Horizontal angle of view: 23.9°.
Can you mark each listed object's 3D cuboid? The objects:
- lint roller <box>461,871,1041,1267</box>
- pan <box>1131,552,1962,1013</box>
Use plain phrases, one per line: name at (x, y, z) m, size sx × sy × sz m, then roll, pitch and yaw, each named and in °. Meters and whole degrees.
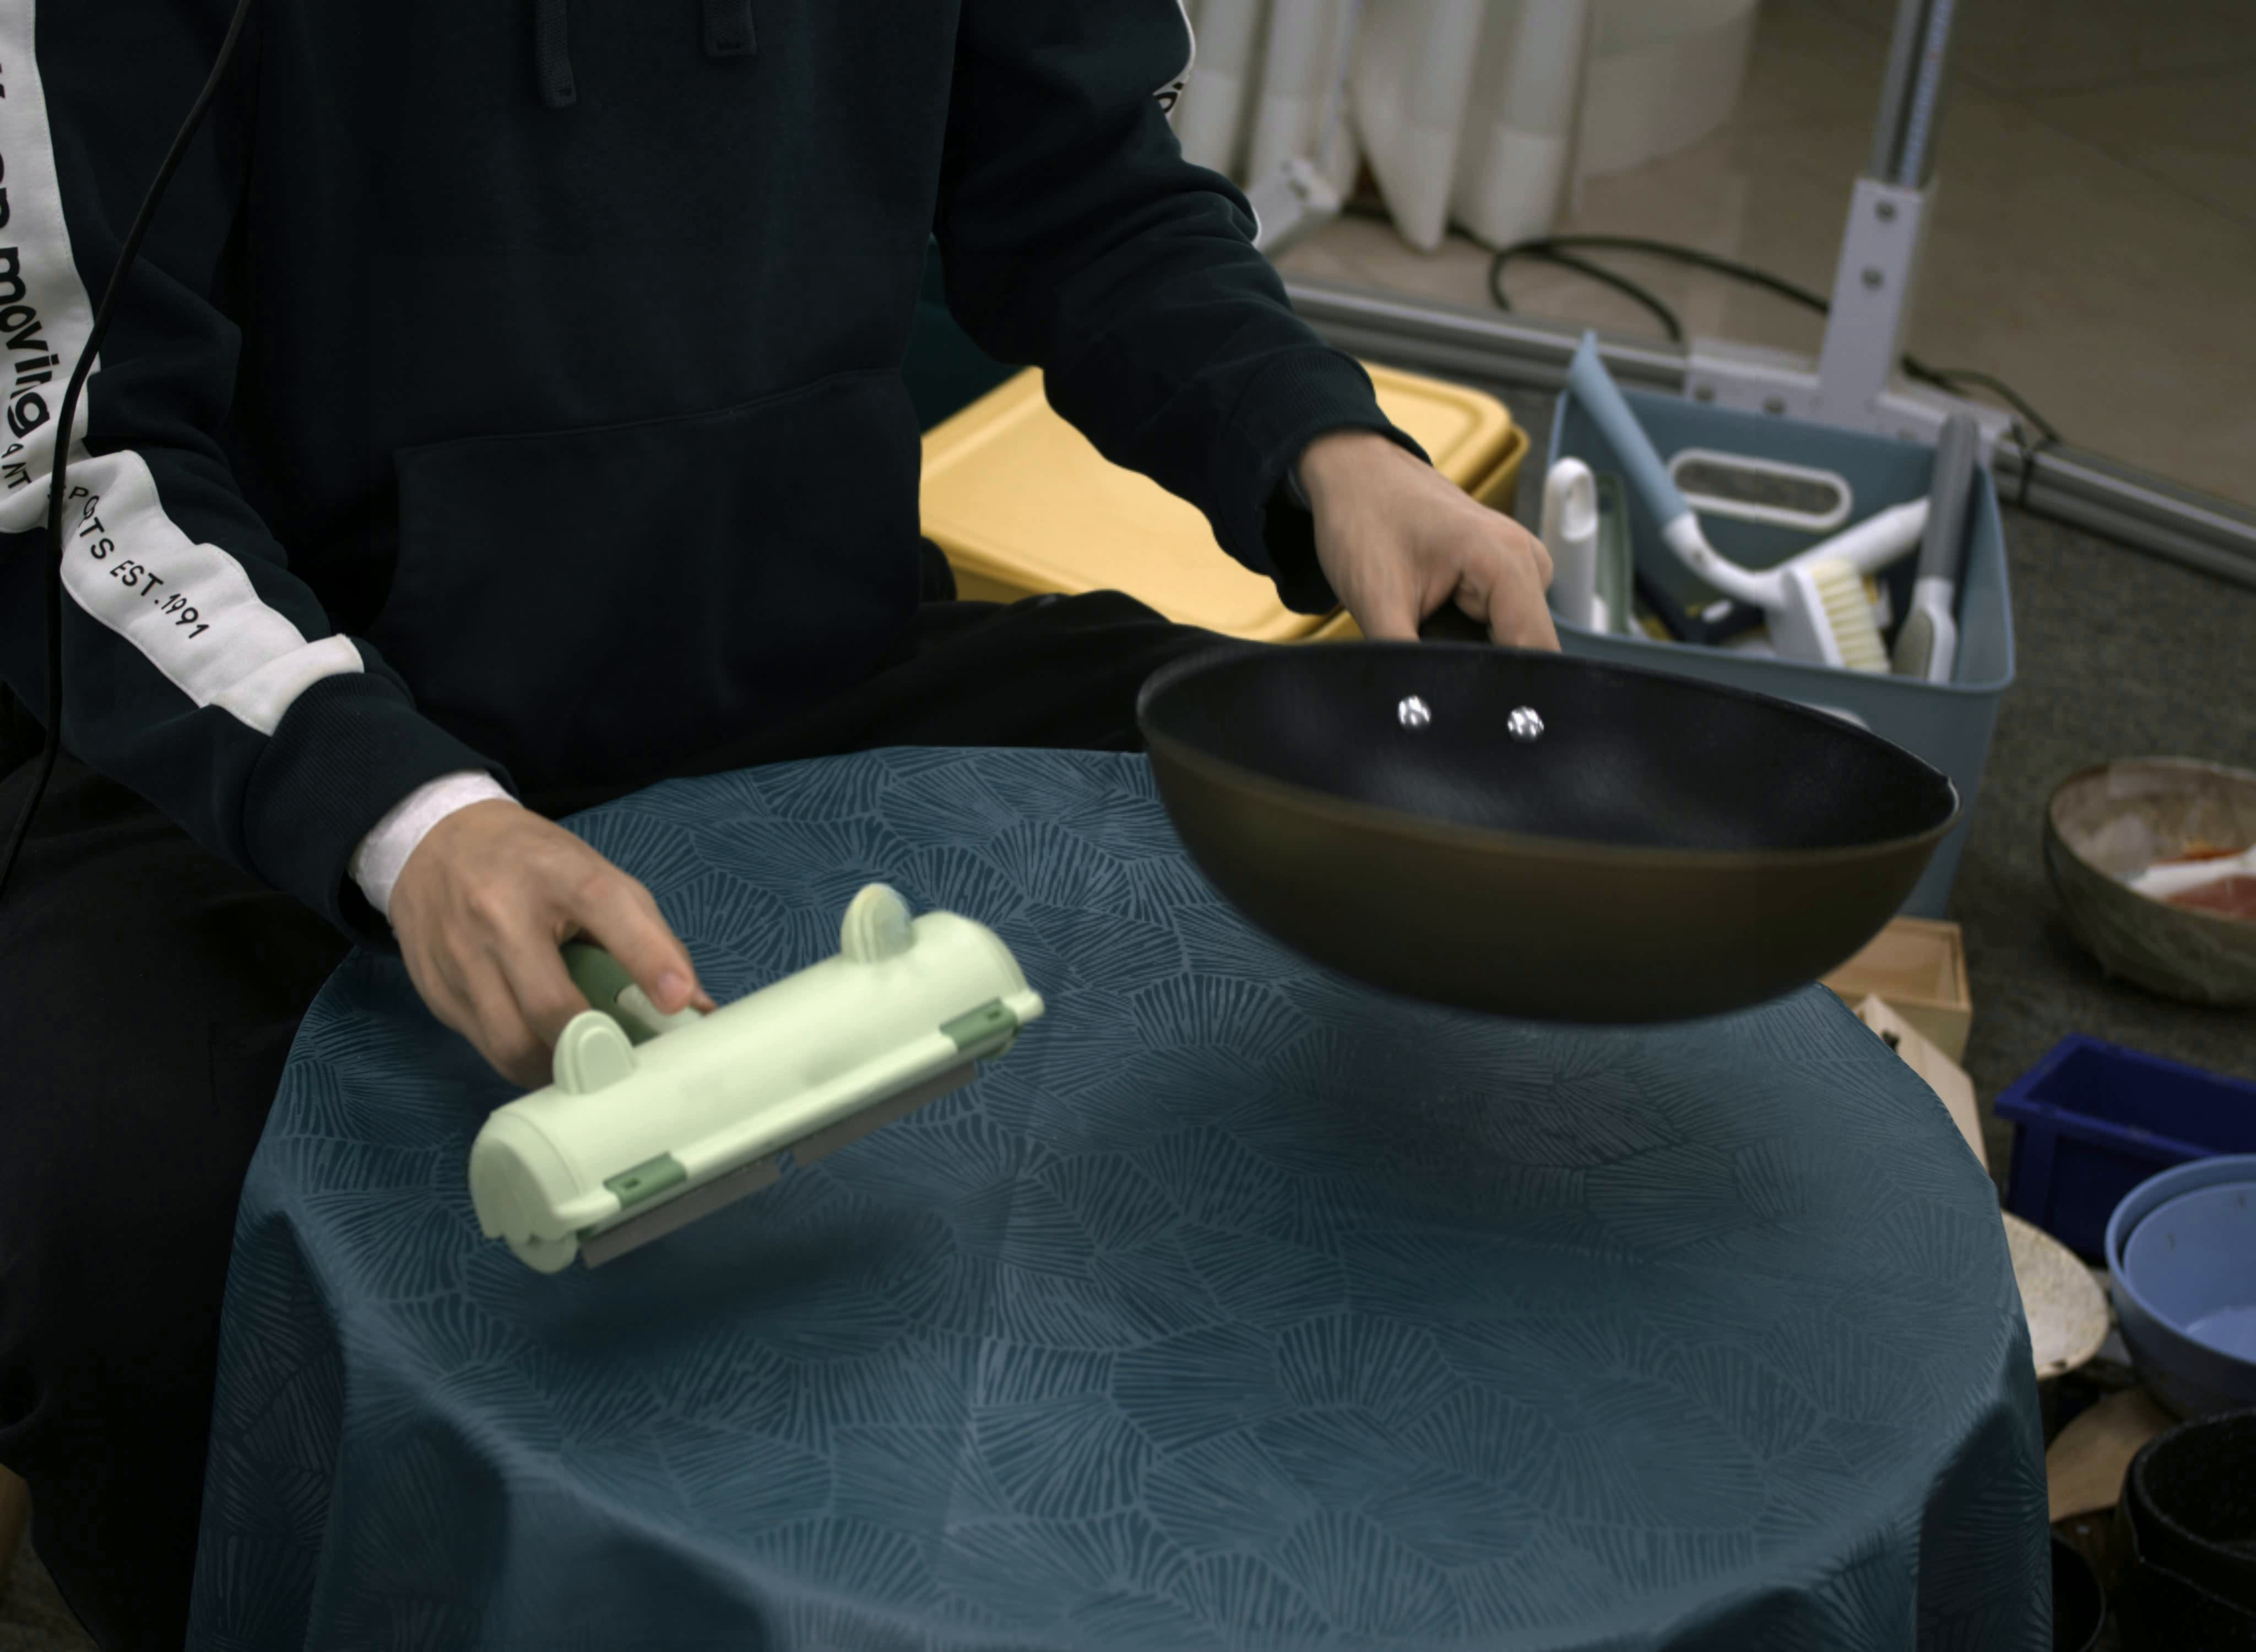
lint roller at (-0.157, 0.052, 1.731) m, size 0.198 × 0.082 × 0.185 m, roll -25°, pitch 41°, yaw -34°
pan at (0.123, -0.019, 1.899) m, size 0.286 × 0.087 × 0.465 m, roll 6°, pitch 13°, yaw -10°
